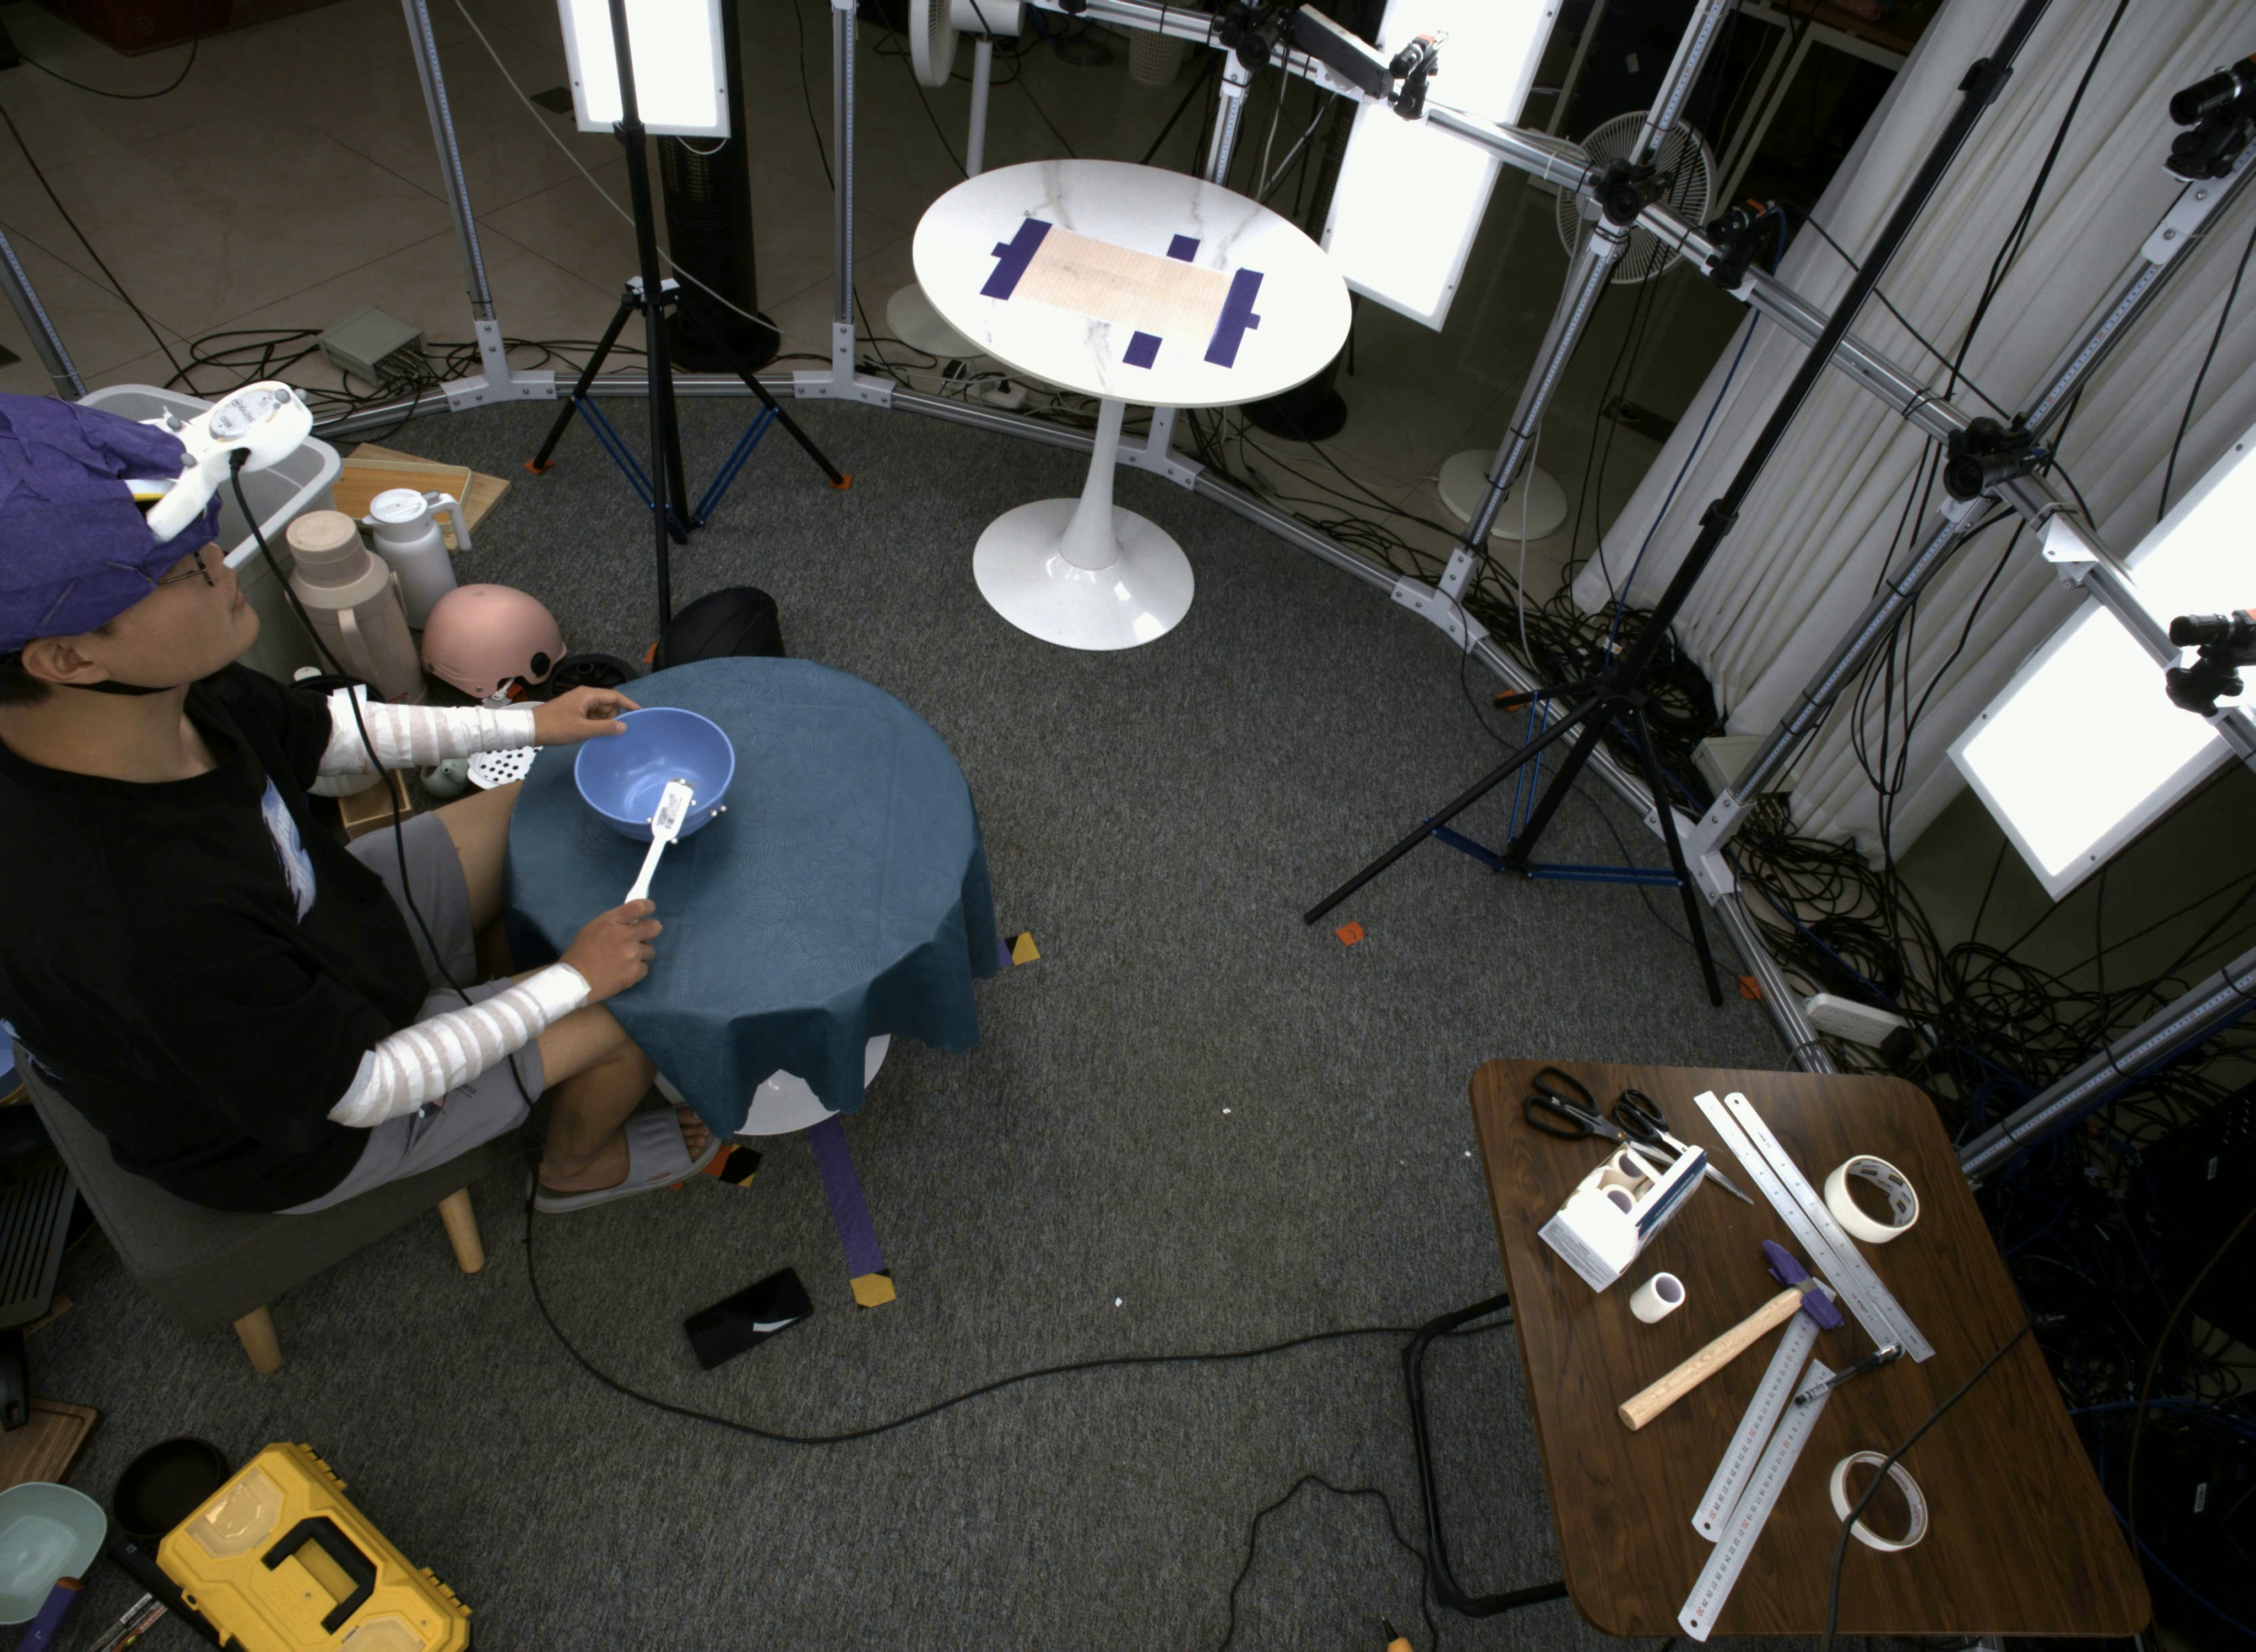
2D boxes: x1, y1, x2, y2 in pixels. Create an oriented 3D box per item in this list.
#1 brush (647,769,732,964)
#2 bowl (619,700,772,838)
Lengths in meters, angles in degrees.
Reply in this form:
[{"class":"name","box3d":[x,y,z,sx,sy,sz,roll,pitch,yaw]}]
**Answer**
[{"class":"brush","box3d":[-0.535,0.047,1.566,0.035,0.049,0.244,19,81,-15]},{"class":"bowl","box3d":[-0.561,-0.059,1.685,0.196,0.097,0.193,7,54,-8]}]
